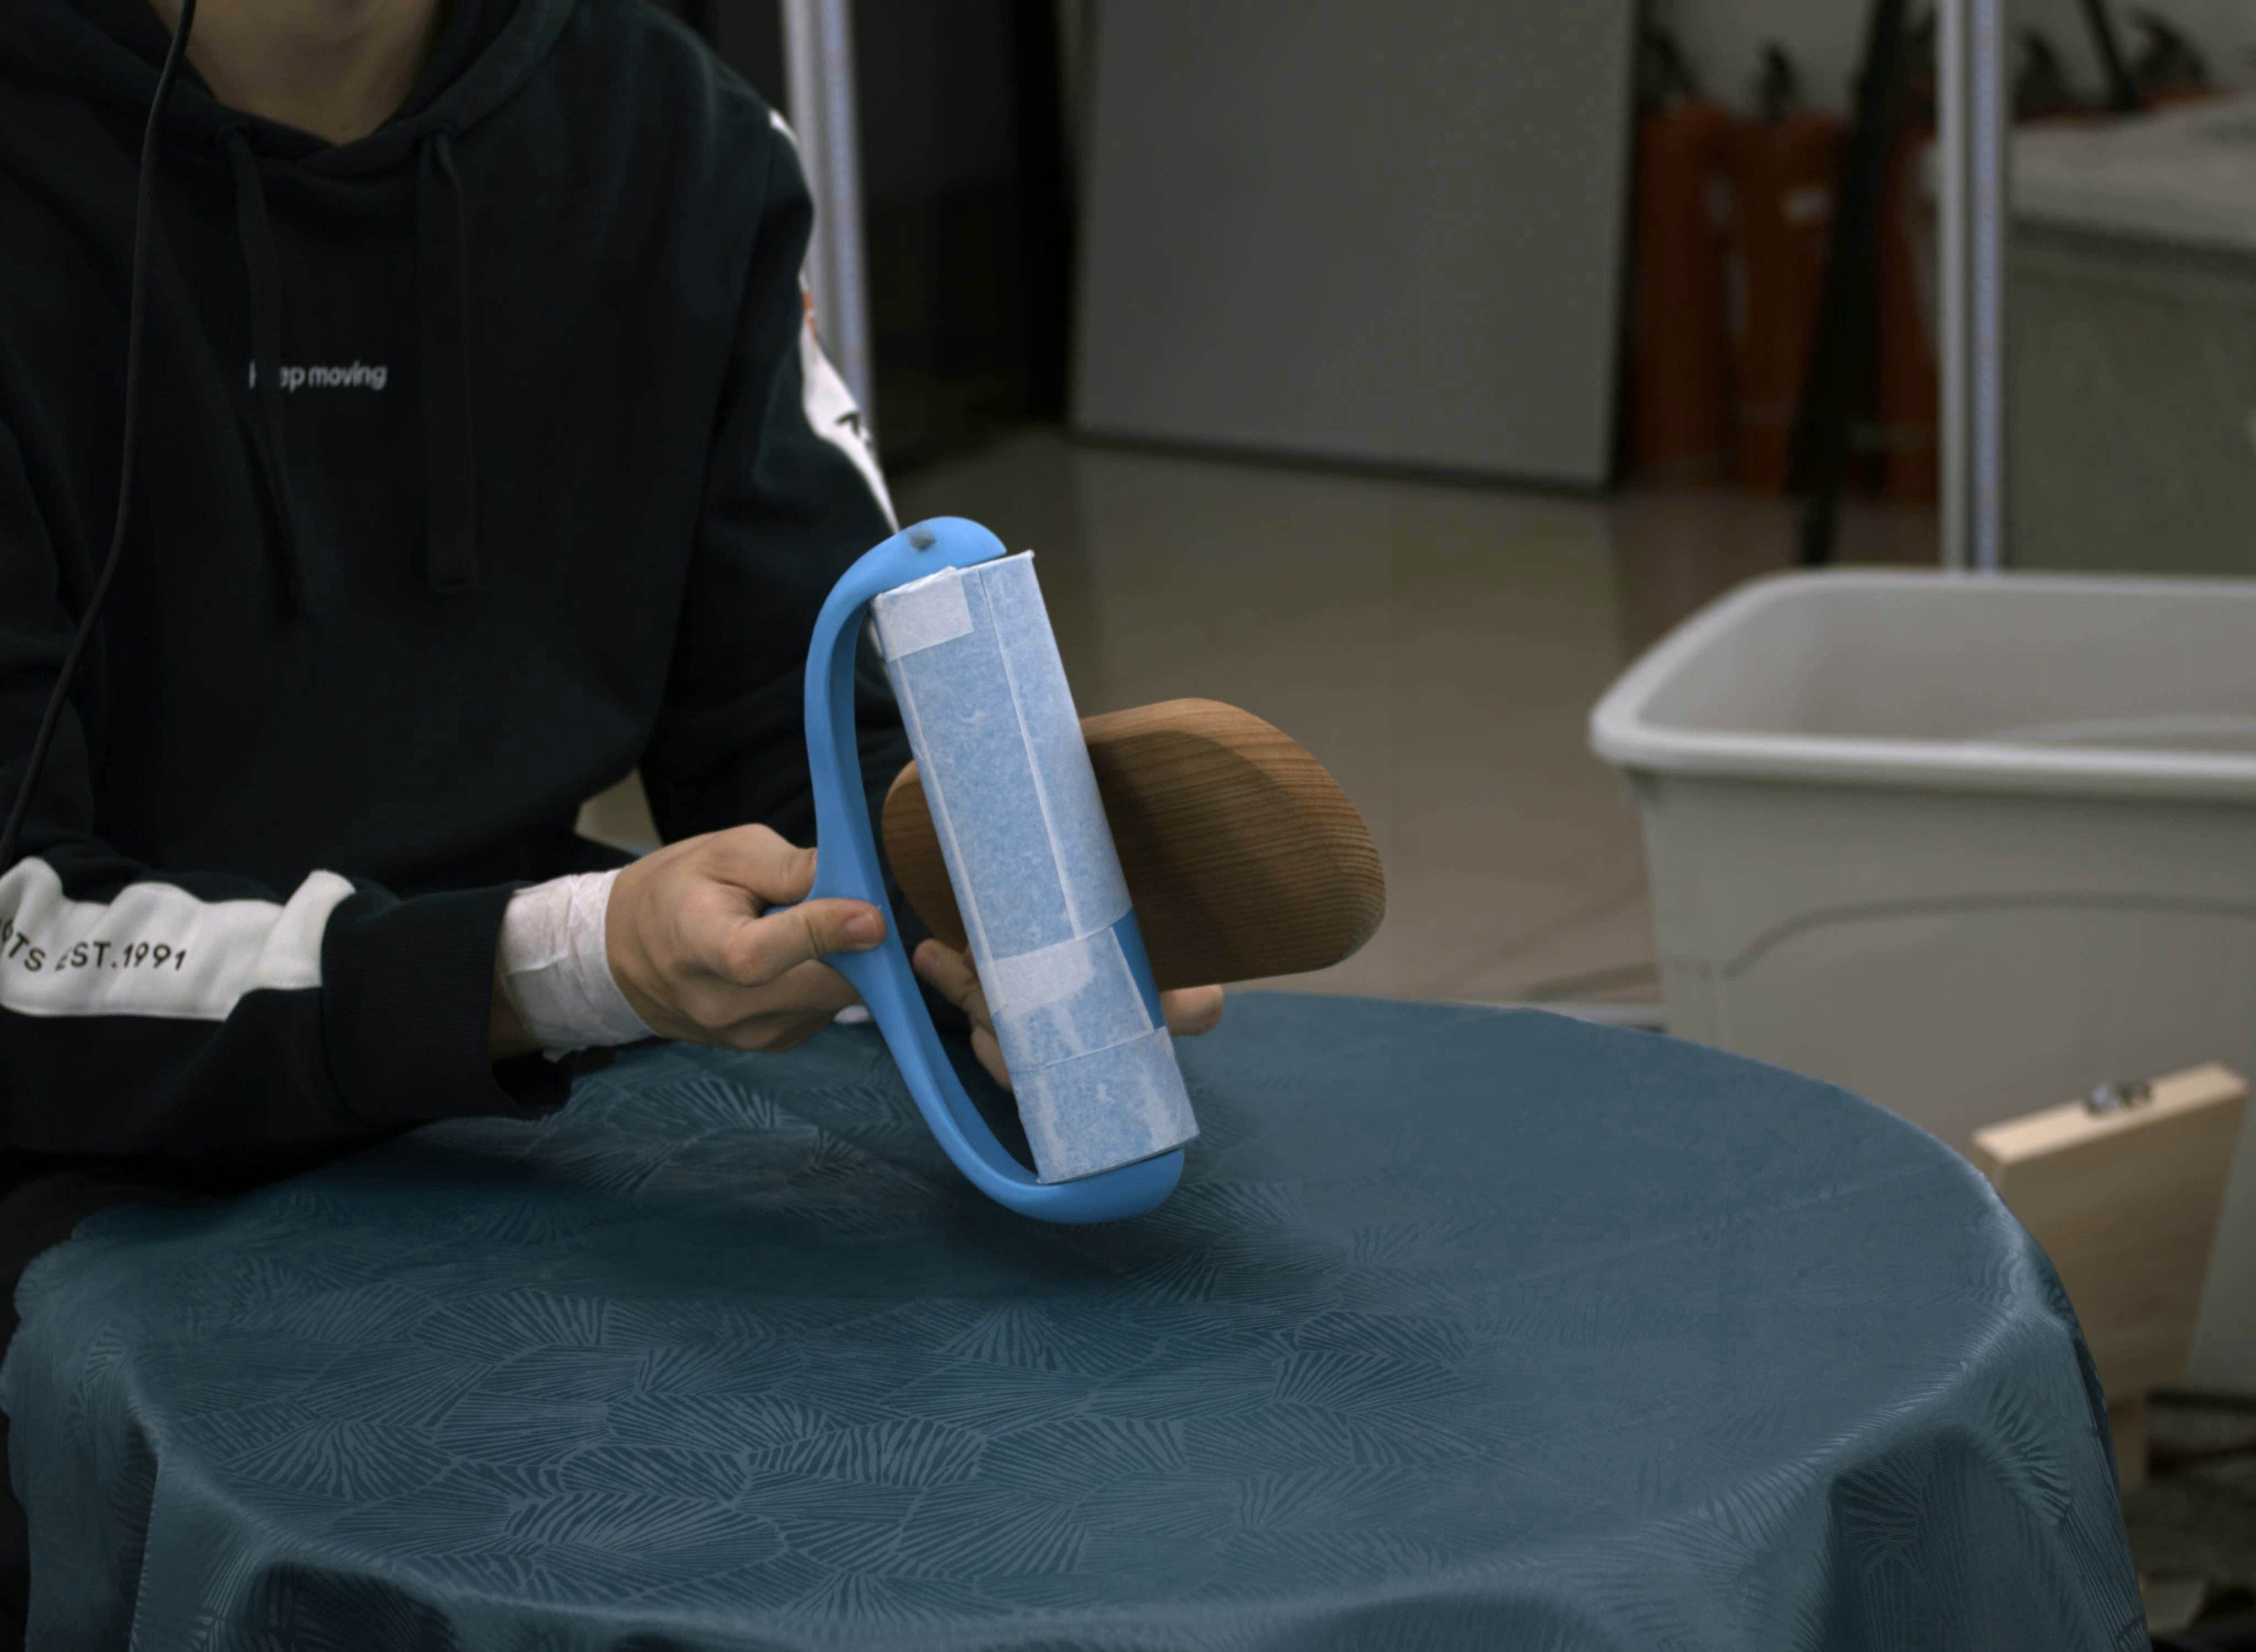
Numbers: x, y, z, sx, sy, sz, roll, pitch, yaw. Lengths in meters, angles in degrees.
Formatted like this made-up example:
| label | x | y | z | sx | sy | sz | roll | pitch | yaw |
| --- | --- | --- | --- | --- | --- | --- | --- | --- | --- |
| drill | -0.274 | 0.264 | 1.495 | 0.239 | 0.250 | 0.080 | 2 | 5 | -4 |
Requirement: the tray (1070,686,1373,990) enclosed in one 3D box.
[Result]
| label | x | y | z | sx | sy | sz | roll | pitch | yaw |
| --- | --- | --- | --- | --- | --- | --- | --- | --- | --- |
| tray | -0.007 | 0.010 | 1.734 | 0.020 | 0.102 | 0.233 | -42 | 18 | -34 |

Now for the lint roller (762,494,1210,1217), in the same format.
| label | x | y | z | sx | sy | sz | roll | pitch | yaw |
| --- | --- | --- | --- | --- | --- | --- | --- | --- | --- |
| lint roller | -0.070 | 0.025 | 1.720 | 0.182 | 0.231 | 0.066 | -22 | -3 | 43 |
